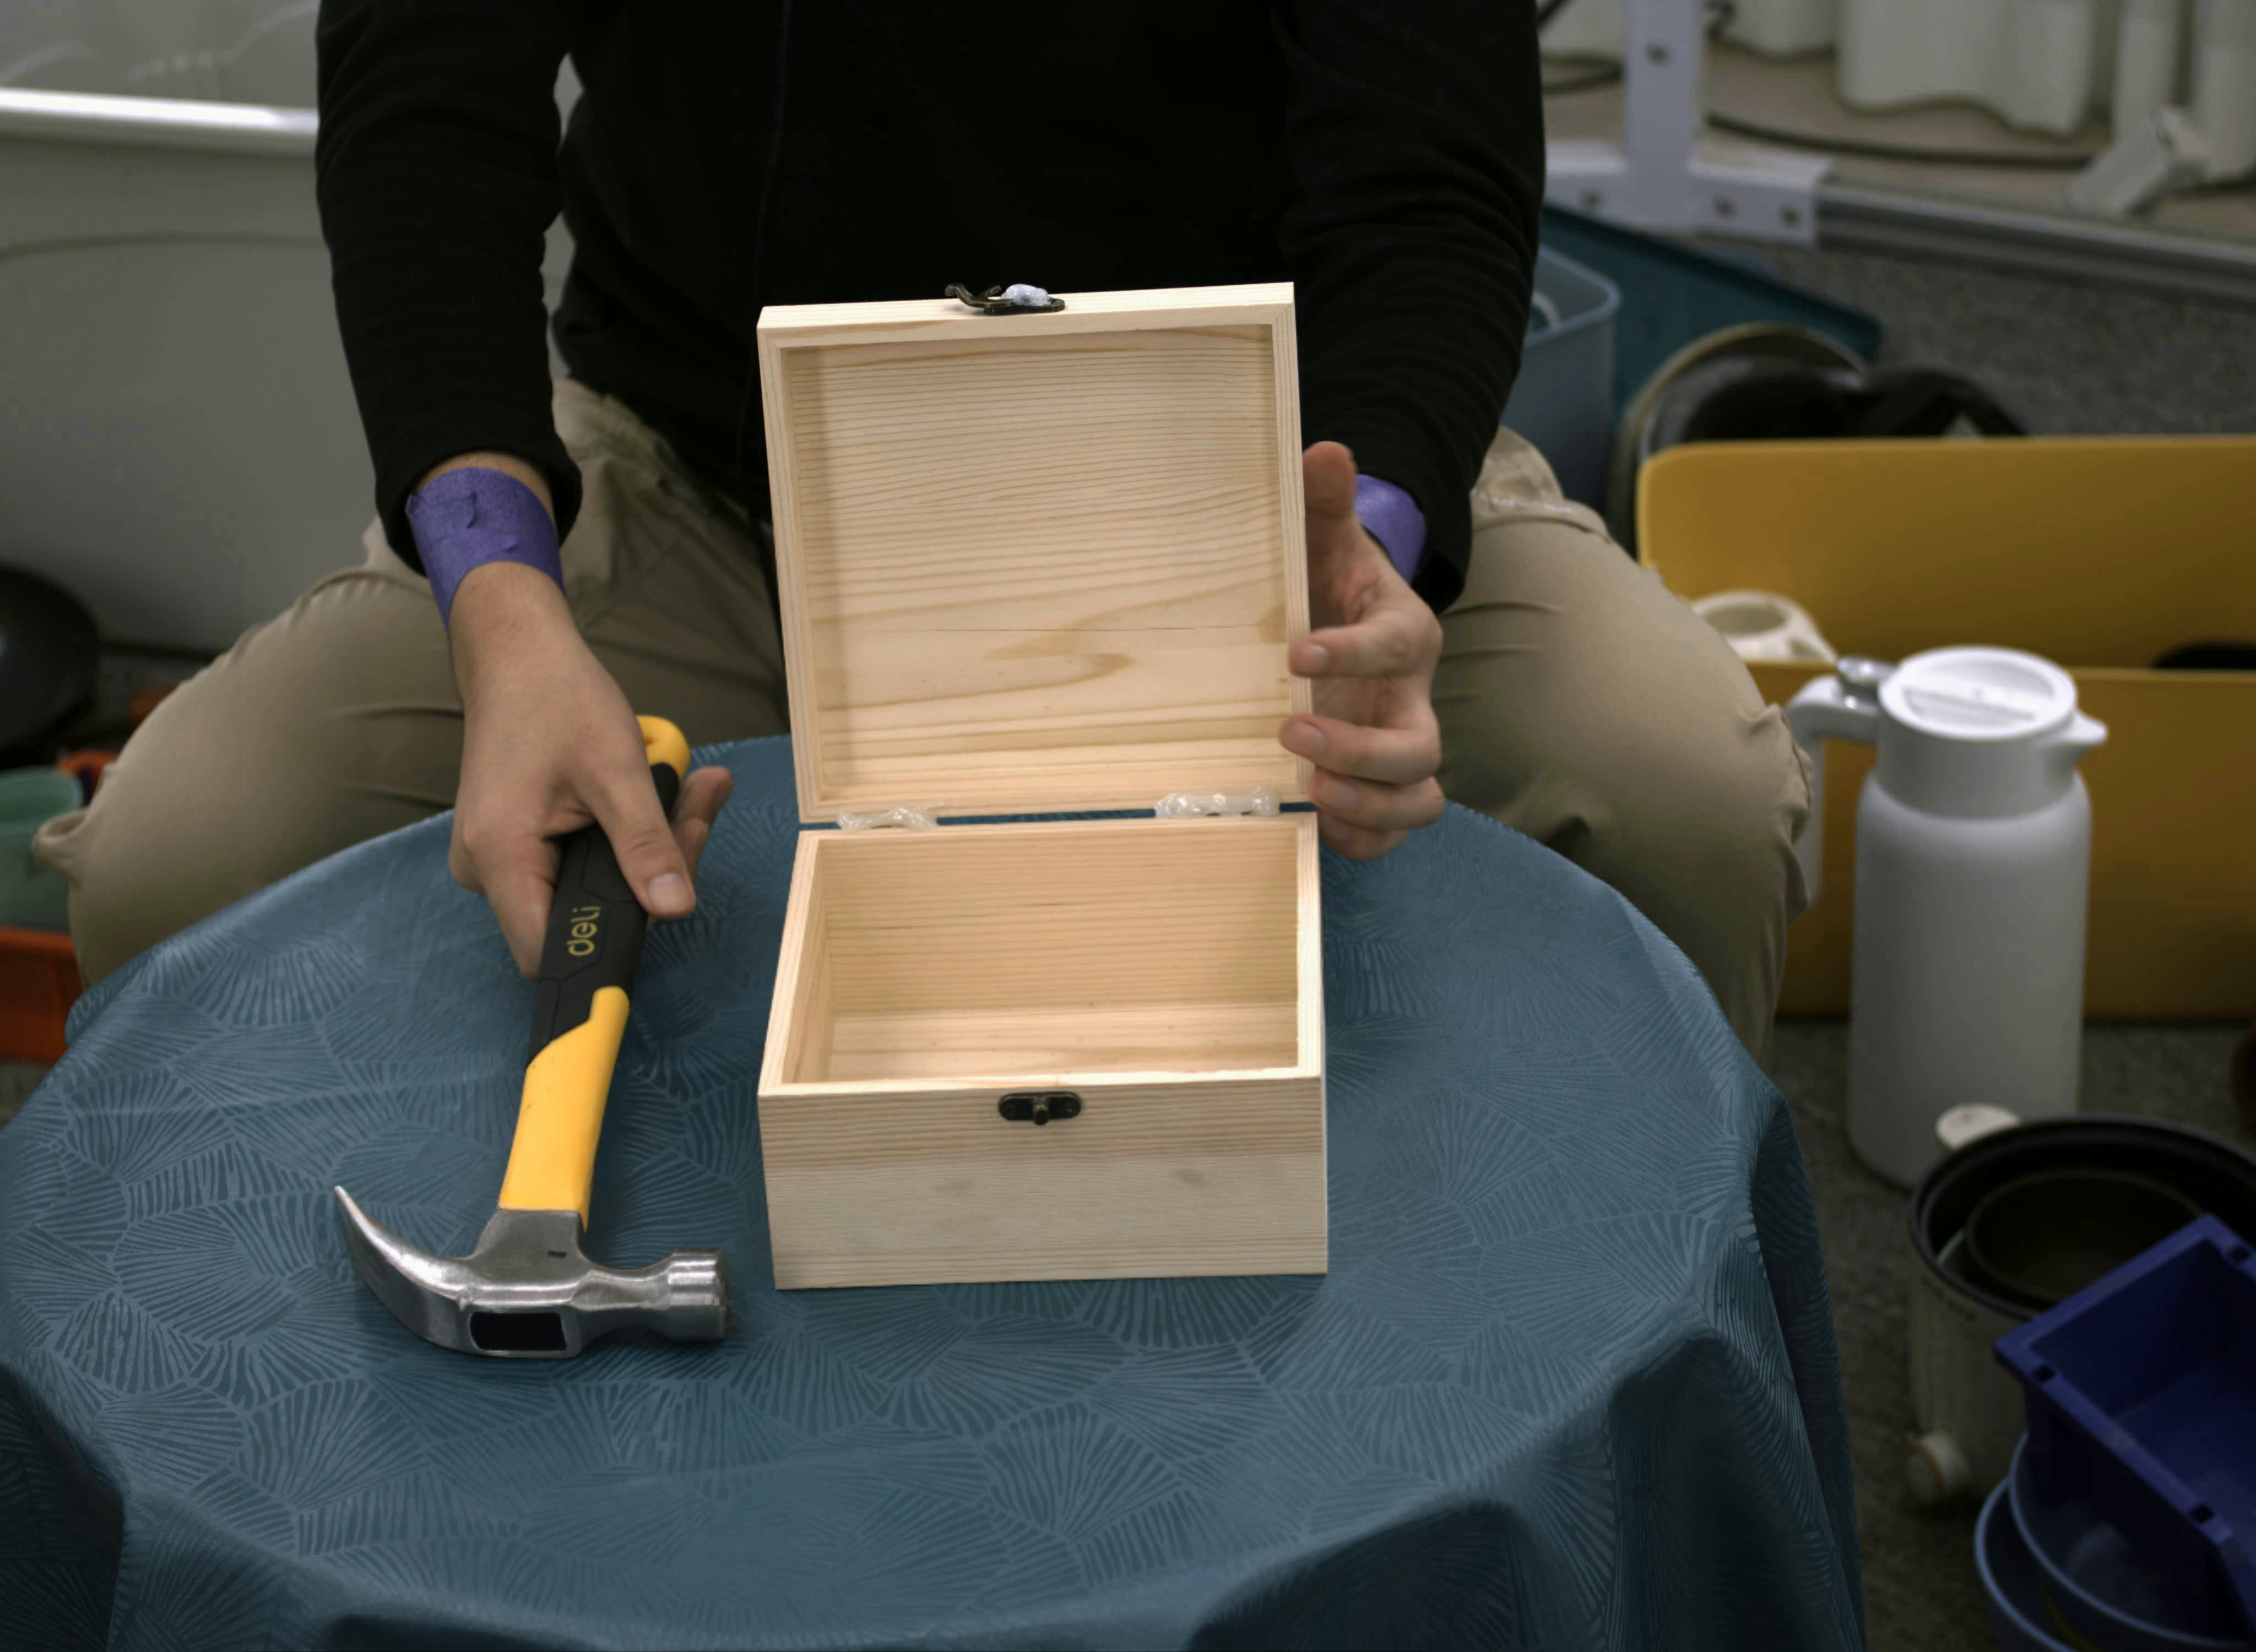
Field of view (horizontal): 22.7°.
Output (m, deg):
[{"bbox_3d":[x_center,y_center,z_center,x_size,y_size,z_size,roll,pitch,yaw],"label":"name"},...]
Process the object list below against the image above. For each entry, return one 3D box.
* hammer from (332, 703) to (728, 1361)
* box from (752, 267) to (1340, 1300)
[{"bbox_3d":[-0.187,0.062,1.916,0.130,0.032,0.345,-1,35,4],"label":"hammer"},{"bbox_3d":[-0.029,-0.019,1.867,0.181,0.250,0.269,-4,27,3],"label":"box"}]
